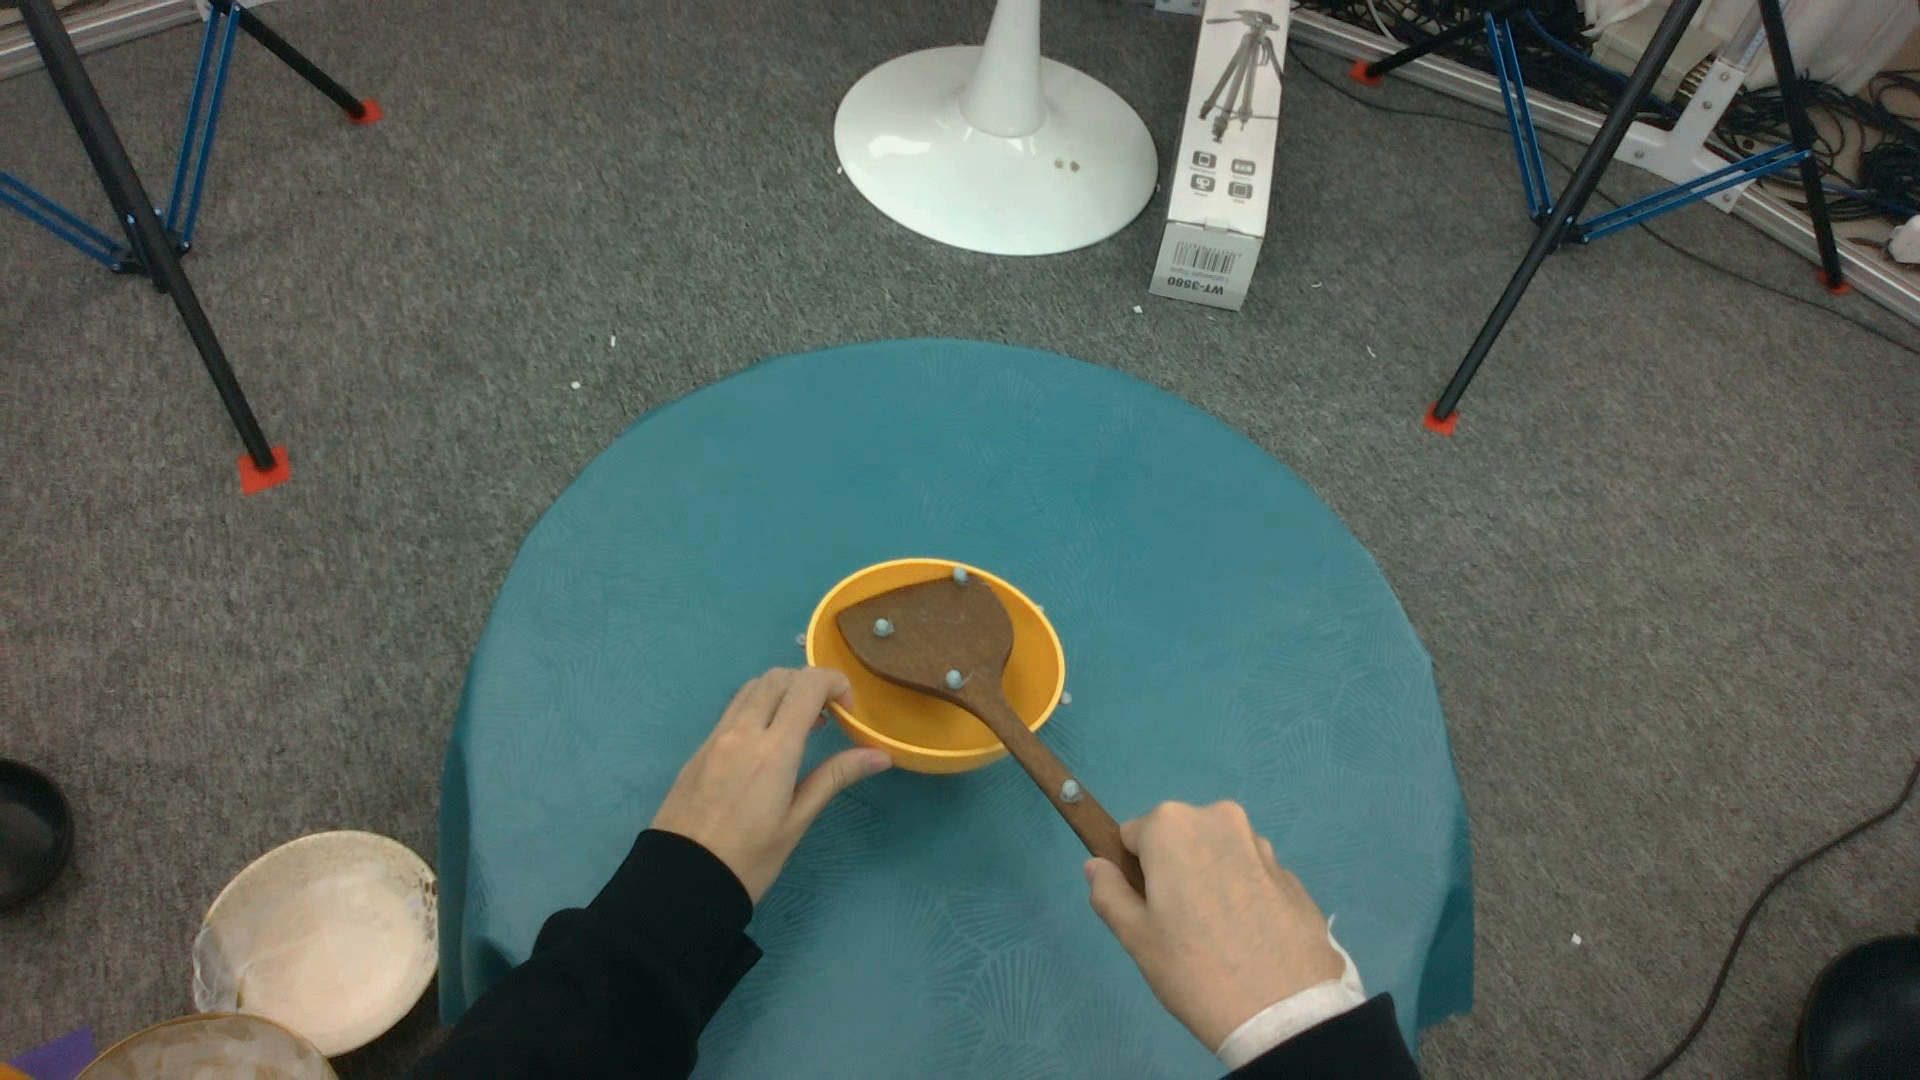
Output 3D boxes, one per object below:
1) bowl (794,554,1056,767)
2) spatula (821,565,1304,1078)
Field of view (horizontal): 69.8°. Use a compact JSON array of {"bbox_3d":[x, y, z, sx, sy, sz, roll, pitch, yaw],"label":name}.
[{"bbox_3d":[-0.021,0.078,0.778,0.145,0.060,0.146,5,44,-5],"label":"bowl"},{"bbox_3d":[0.039,0.108,0.652,0.096,0.016,0.386,-15,31,-21],"label":"spatula"}]
